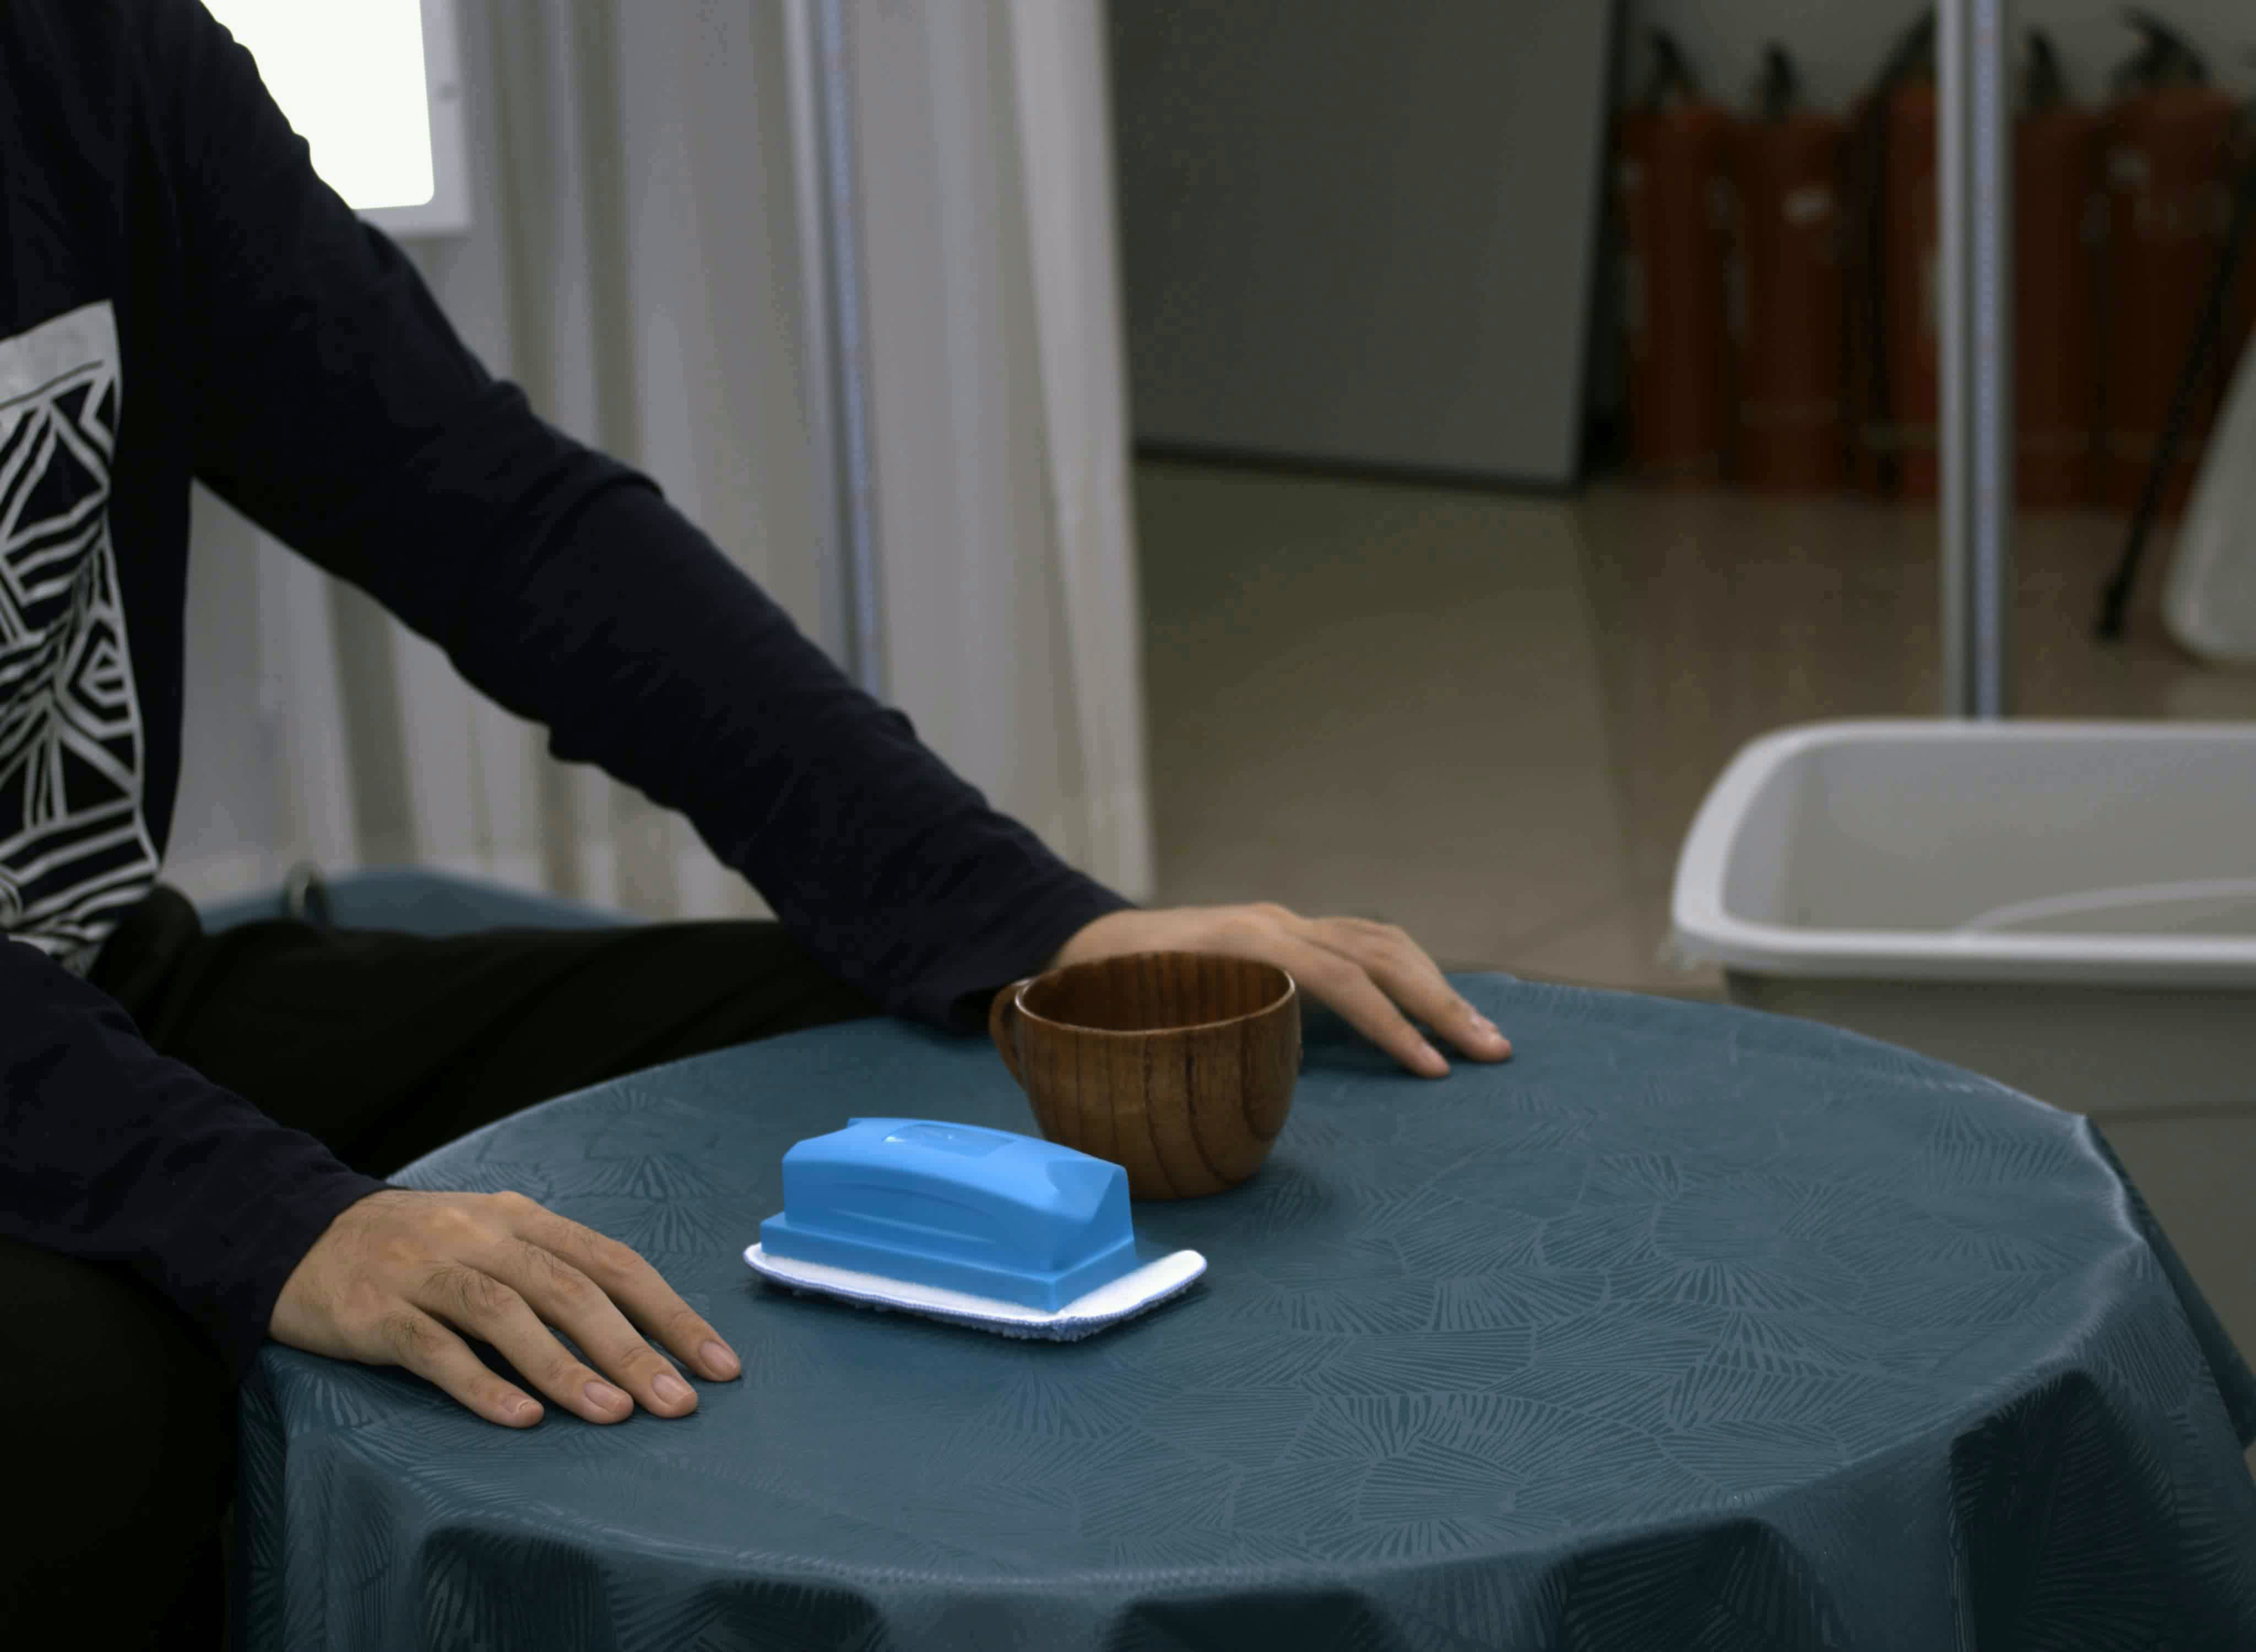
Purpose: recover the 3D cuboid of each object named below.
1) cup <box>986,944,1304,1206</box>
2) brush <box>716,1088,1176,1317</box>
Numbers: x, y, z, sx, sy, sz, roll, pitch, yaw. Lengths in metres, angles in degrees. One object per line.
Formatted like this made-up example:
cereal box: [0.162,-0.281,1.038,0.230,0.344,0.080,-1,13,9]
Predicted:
cup: [0.004,0.084,1.791,0.120,0.068,0.094,4,19,38]
brush: [-0.057,0.116,1.686,0.145,0.056,0.082,11,17,39]
